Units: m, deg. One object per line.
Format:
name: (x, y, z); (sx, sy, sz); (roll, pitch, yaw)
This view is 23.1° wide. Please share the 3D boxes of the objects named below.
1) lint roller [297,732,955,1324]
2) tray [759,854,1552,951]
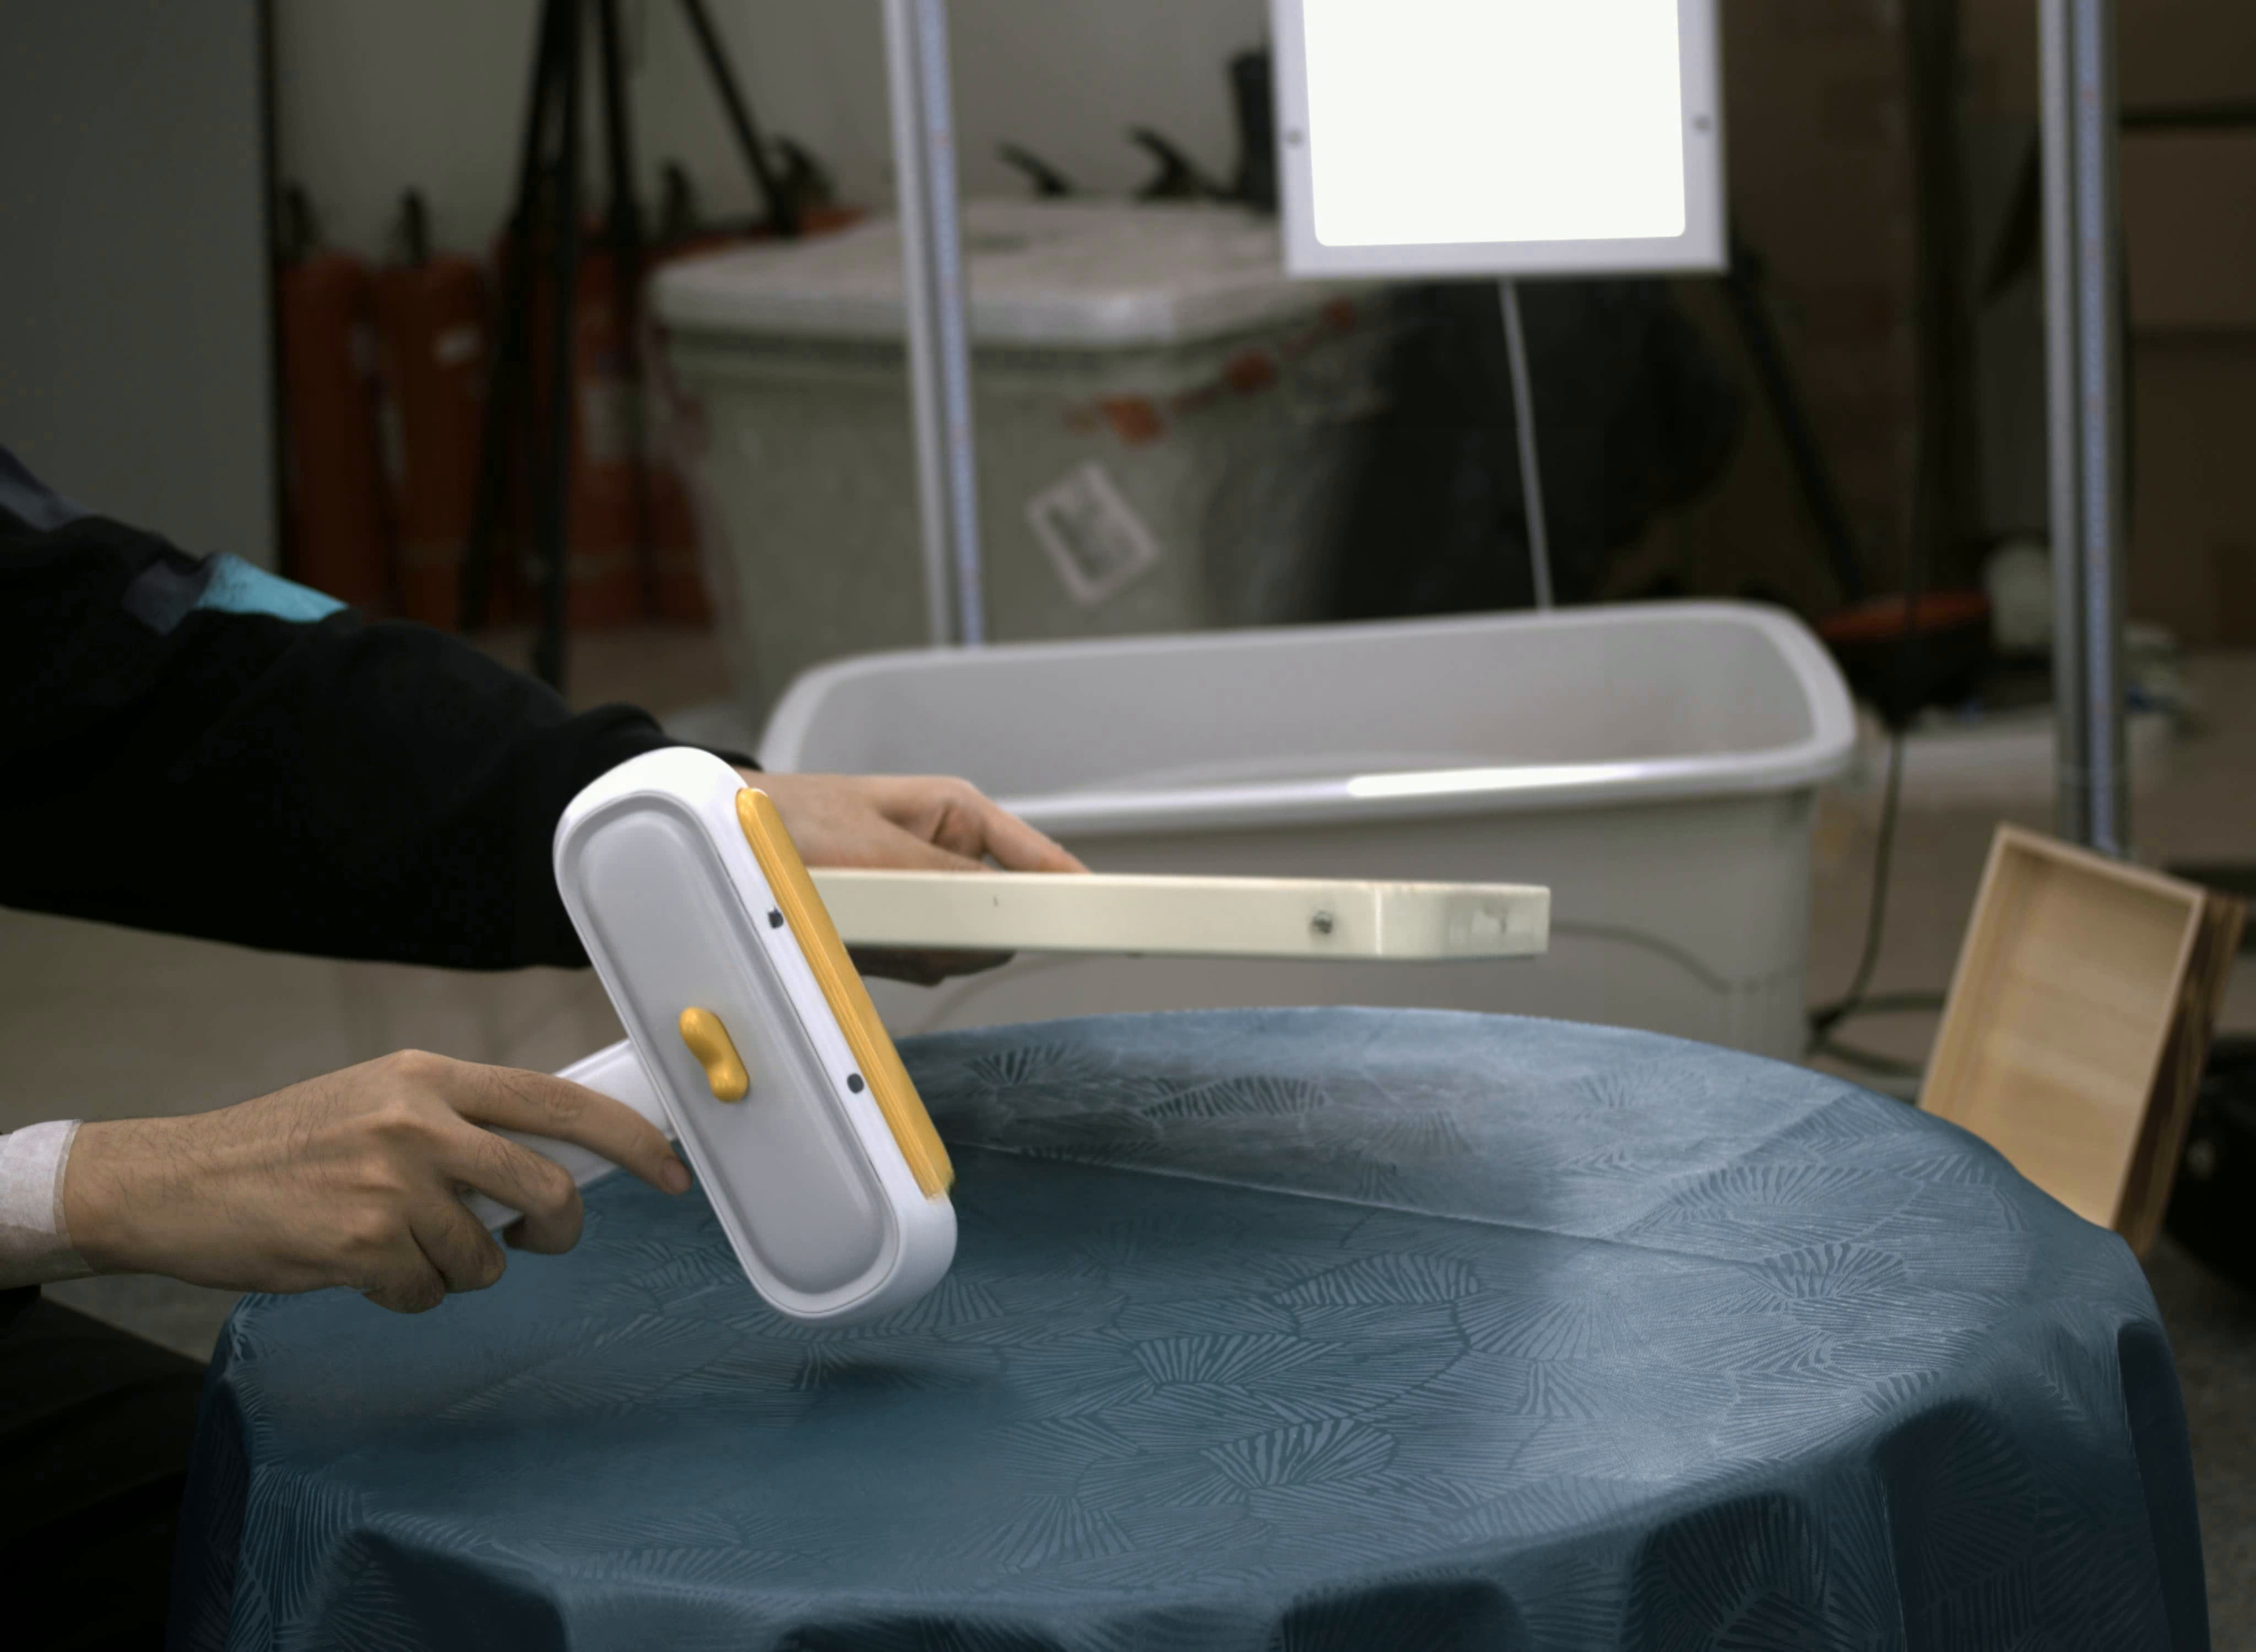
lint roller: (-0.172, 0.092, 1.735); (0.193, 0.193, 0.073); (-31, -2, 8)
tray: (-0.014, 0.027, 1.946); (0.304, 0.027, 0.188); (1, -2, 20)
